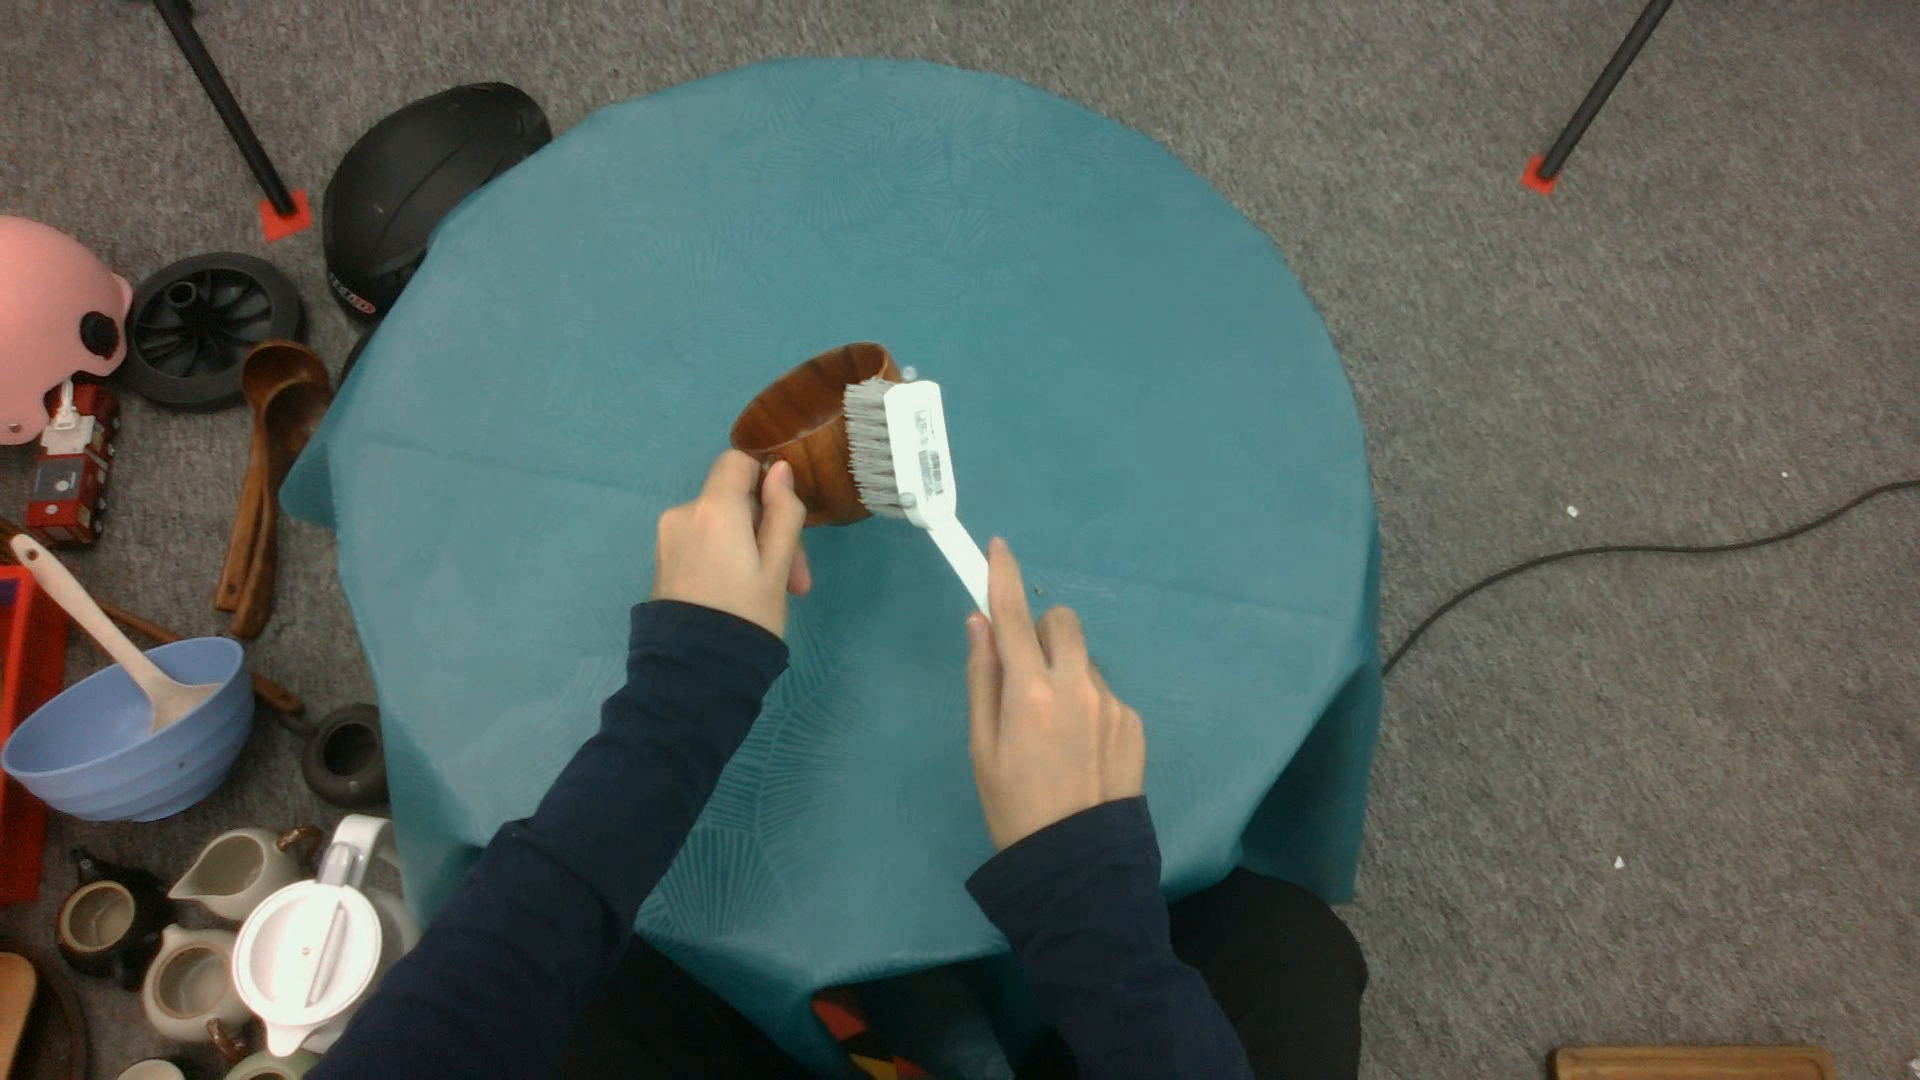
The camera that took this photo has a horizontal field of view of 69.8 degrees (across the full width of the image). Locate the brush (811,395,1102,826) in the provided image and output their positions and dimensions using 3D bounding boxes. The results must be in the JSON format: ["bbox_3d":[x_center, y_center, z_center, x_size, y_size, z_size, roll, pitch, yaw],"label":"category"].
[{"bbox_3d":[-0.004,0.037,0.677,0.243,0.050,0.034,62,33,-4],"label":"brush"}]

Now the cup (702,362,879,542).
[{"bbox_3d":[-0.084,-0.036,0.725,0.096,0.067,0.120,-12,31,29],"label":"cup"}]
